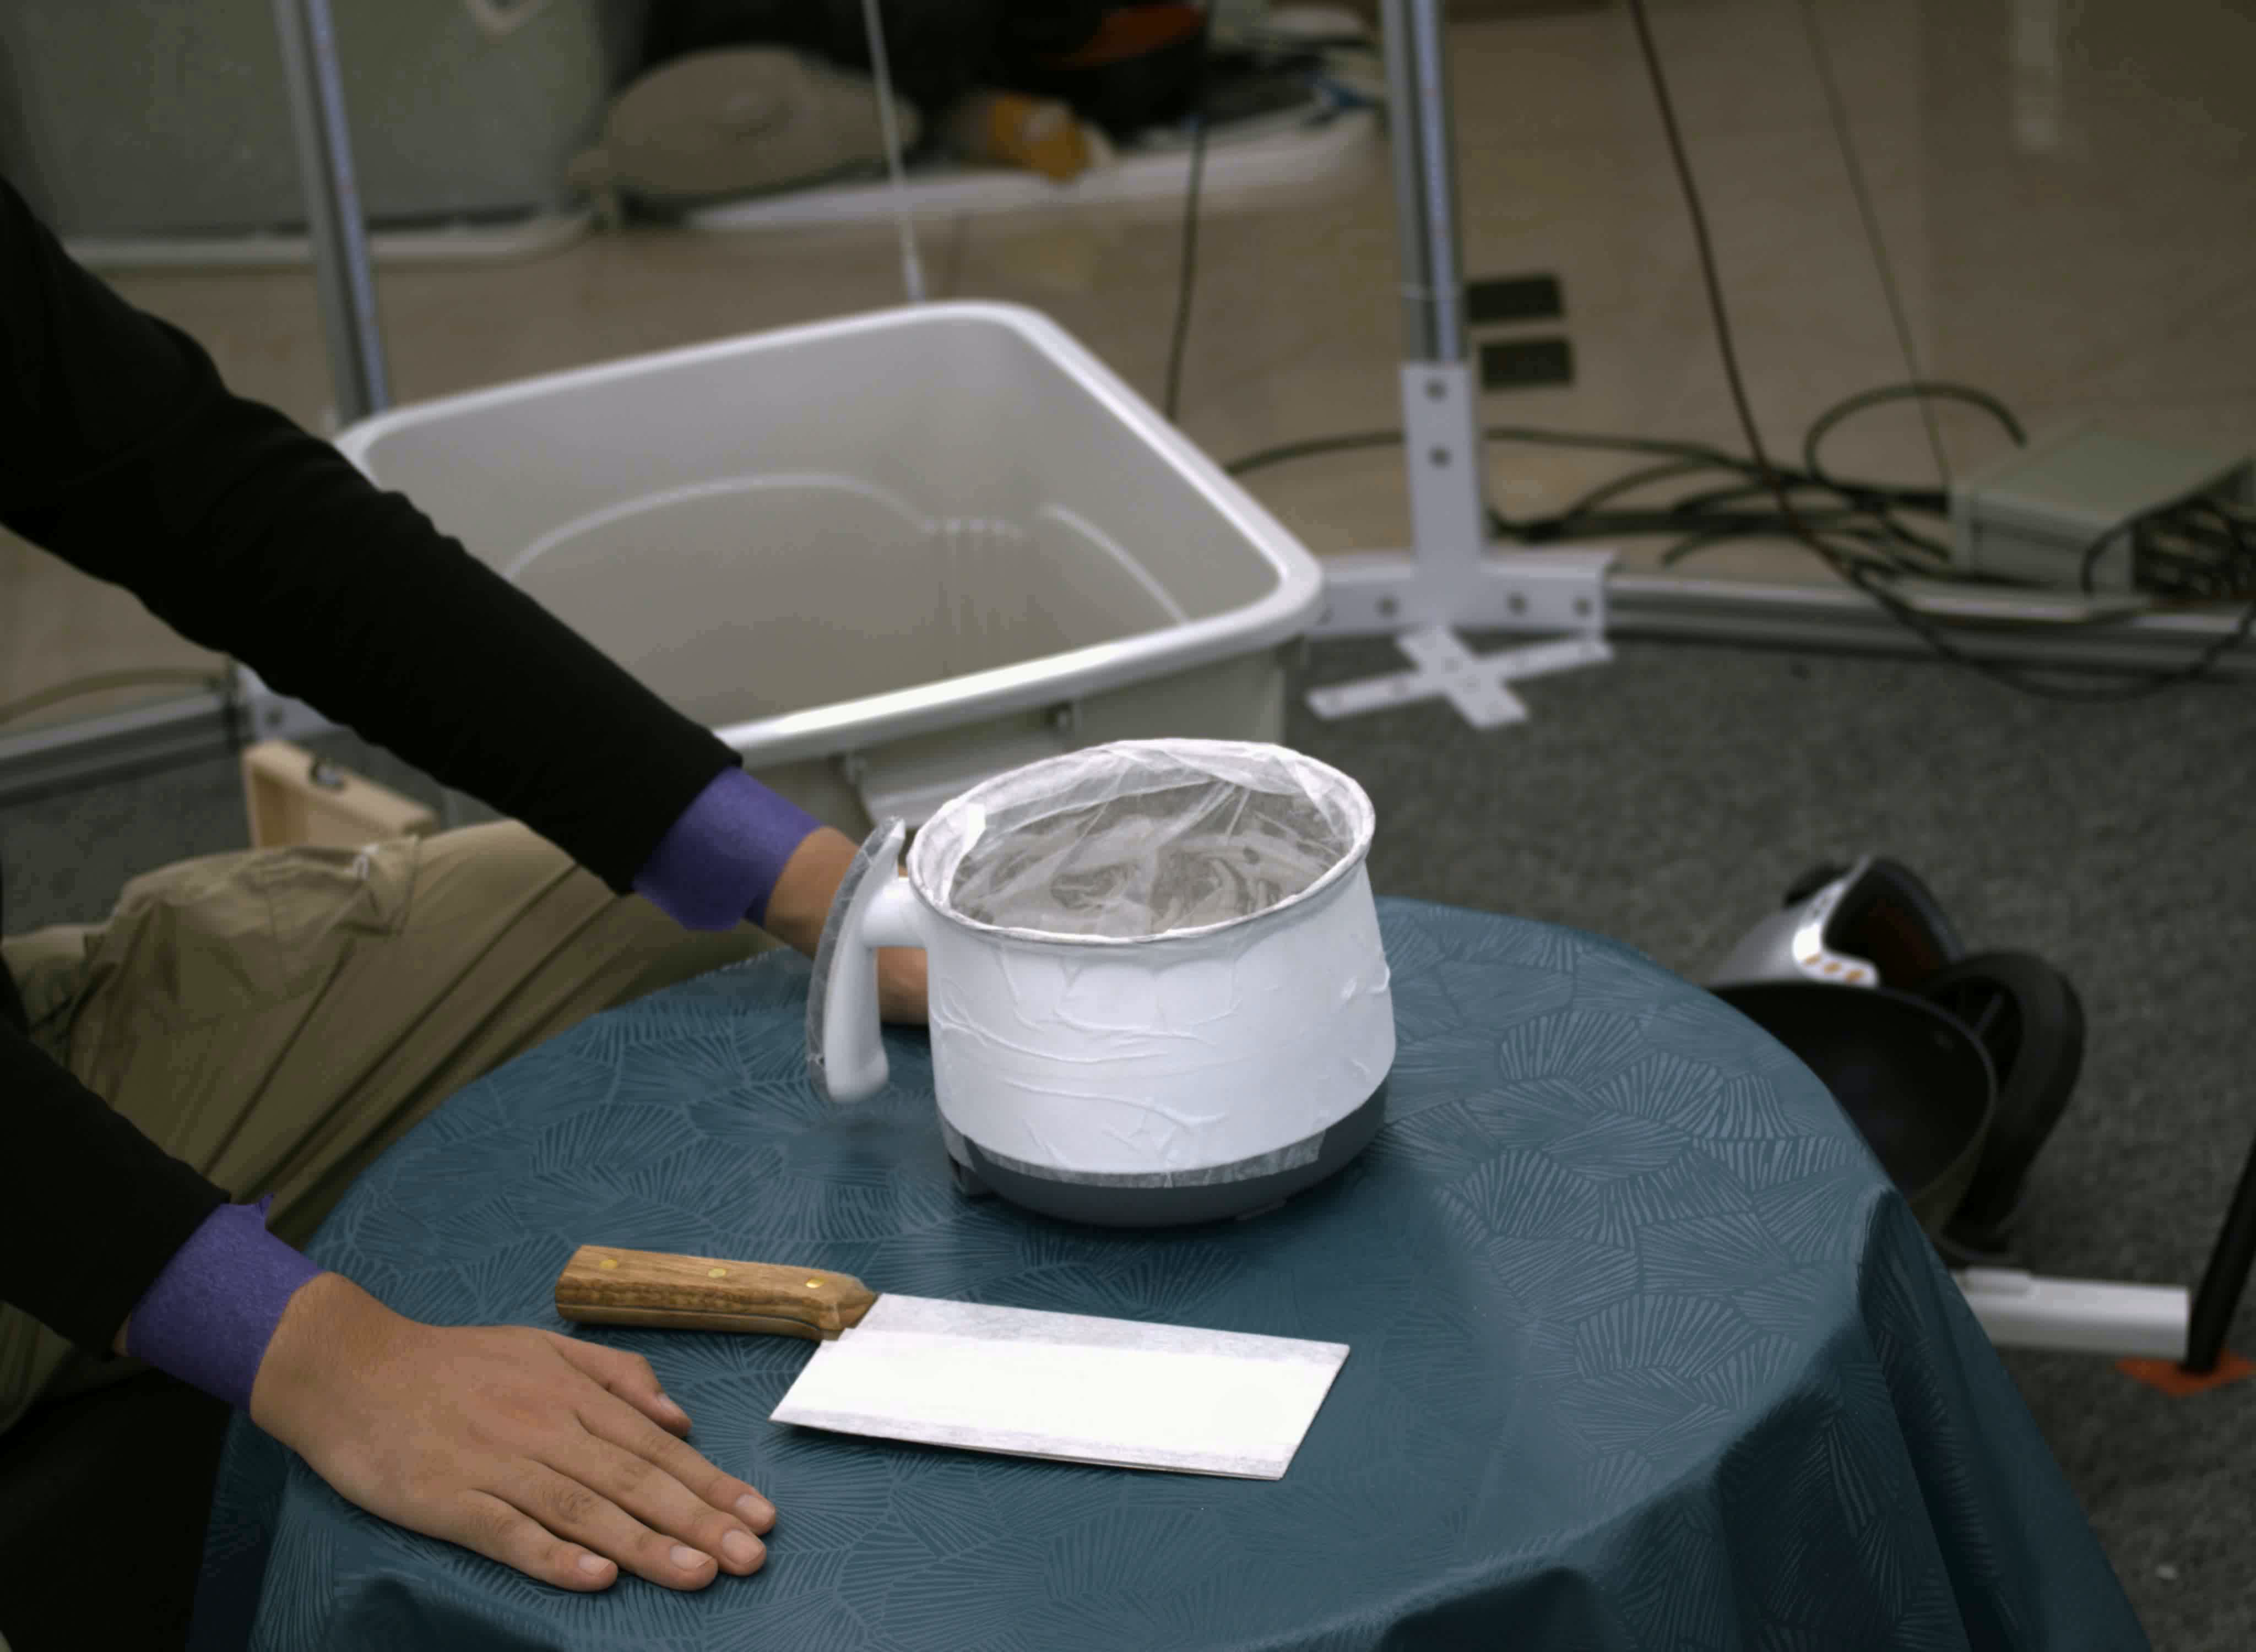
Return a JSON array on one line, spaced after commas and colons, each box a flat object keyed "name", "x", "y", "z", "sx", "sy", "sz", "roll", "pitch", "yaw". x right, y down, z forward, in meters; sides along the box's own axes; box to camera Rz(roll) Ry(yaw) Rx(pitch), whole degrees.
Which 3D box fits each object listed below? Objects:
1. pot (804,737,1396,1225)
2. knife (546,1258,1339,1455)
[{"name": "pot", "x": -0.015, "y": 0.059, "z": 2.156, "sx": 0.233, "sy": 0.139, "sz": 0.176, "roll": 2, "pitch": 26, "yaw": 16}, {"name": "knife", "x": -0.077, "y": 0.193, "z": 2.037, "sx": 0.305, "sy": 0.021, "sz": 0.091, "roll": 4, "pitch": 27, "yaw": 18}]
